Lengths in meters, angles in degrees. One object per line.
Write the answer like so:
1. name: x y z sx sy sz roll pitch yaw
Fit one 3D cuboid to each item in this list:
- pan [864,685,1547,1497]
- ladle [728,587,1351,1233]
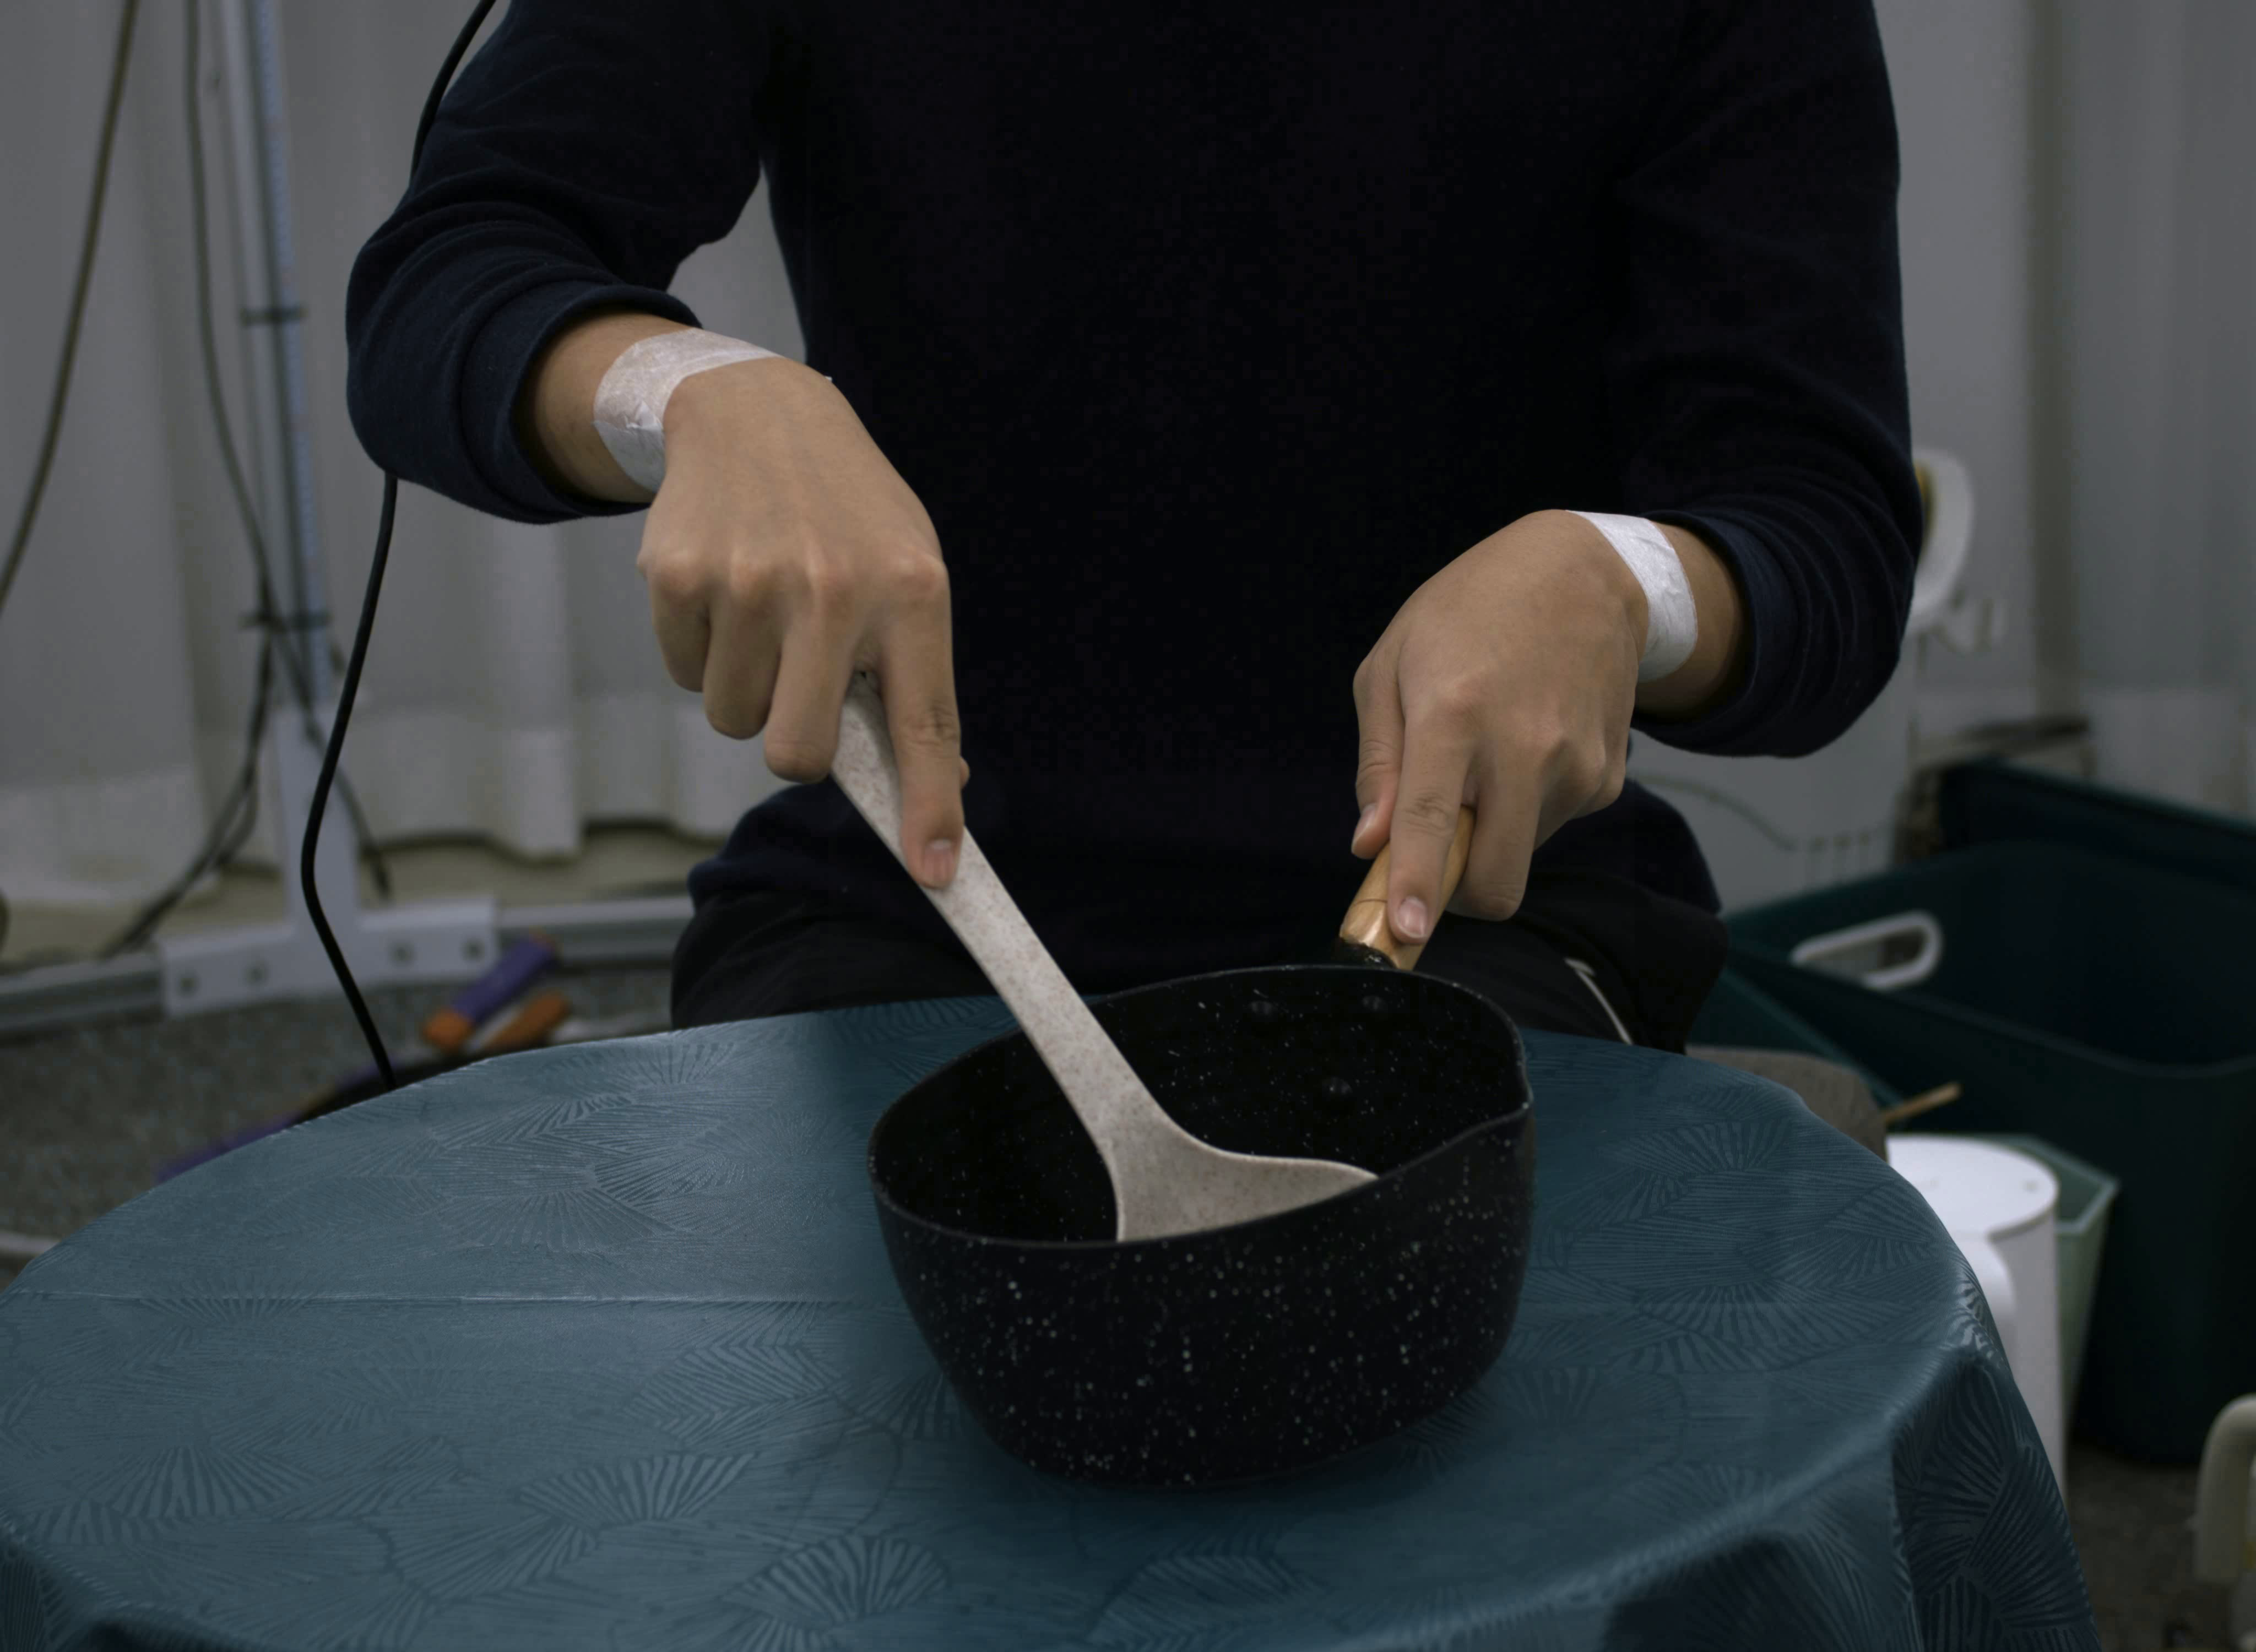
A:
1. pan: 0.054 0.072 1.580 0.207 0.107 0.345 -3 22 26
2. ladle: -0.027 0.034 1.536 0.089 0.276 0.069 -32 -10 -19
